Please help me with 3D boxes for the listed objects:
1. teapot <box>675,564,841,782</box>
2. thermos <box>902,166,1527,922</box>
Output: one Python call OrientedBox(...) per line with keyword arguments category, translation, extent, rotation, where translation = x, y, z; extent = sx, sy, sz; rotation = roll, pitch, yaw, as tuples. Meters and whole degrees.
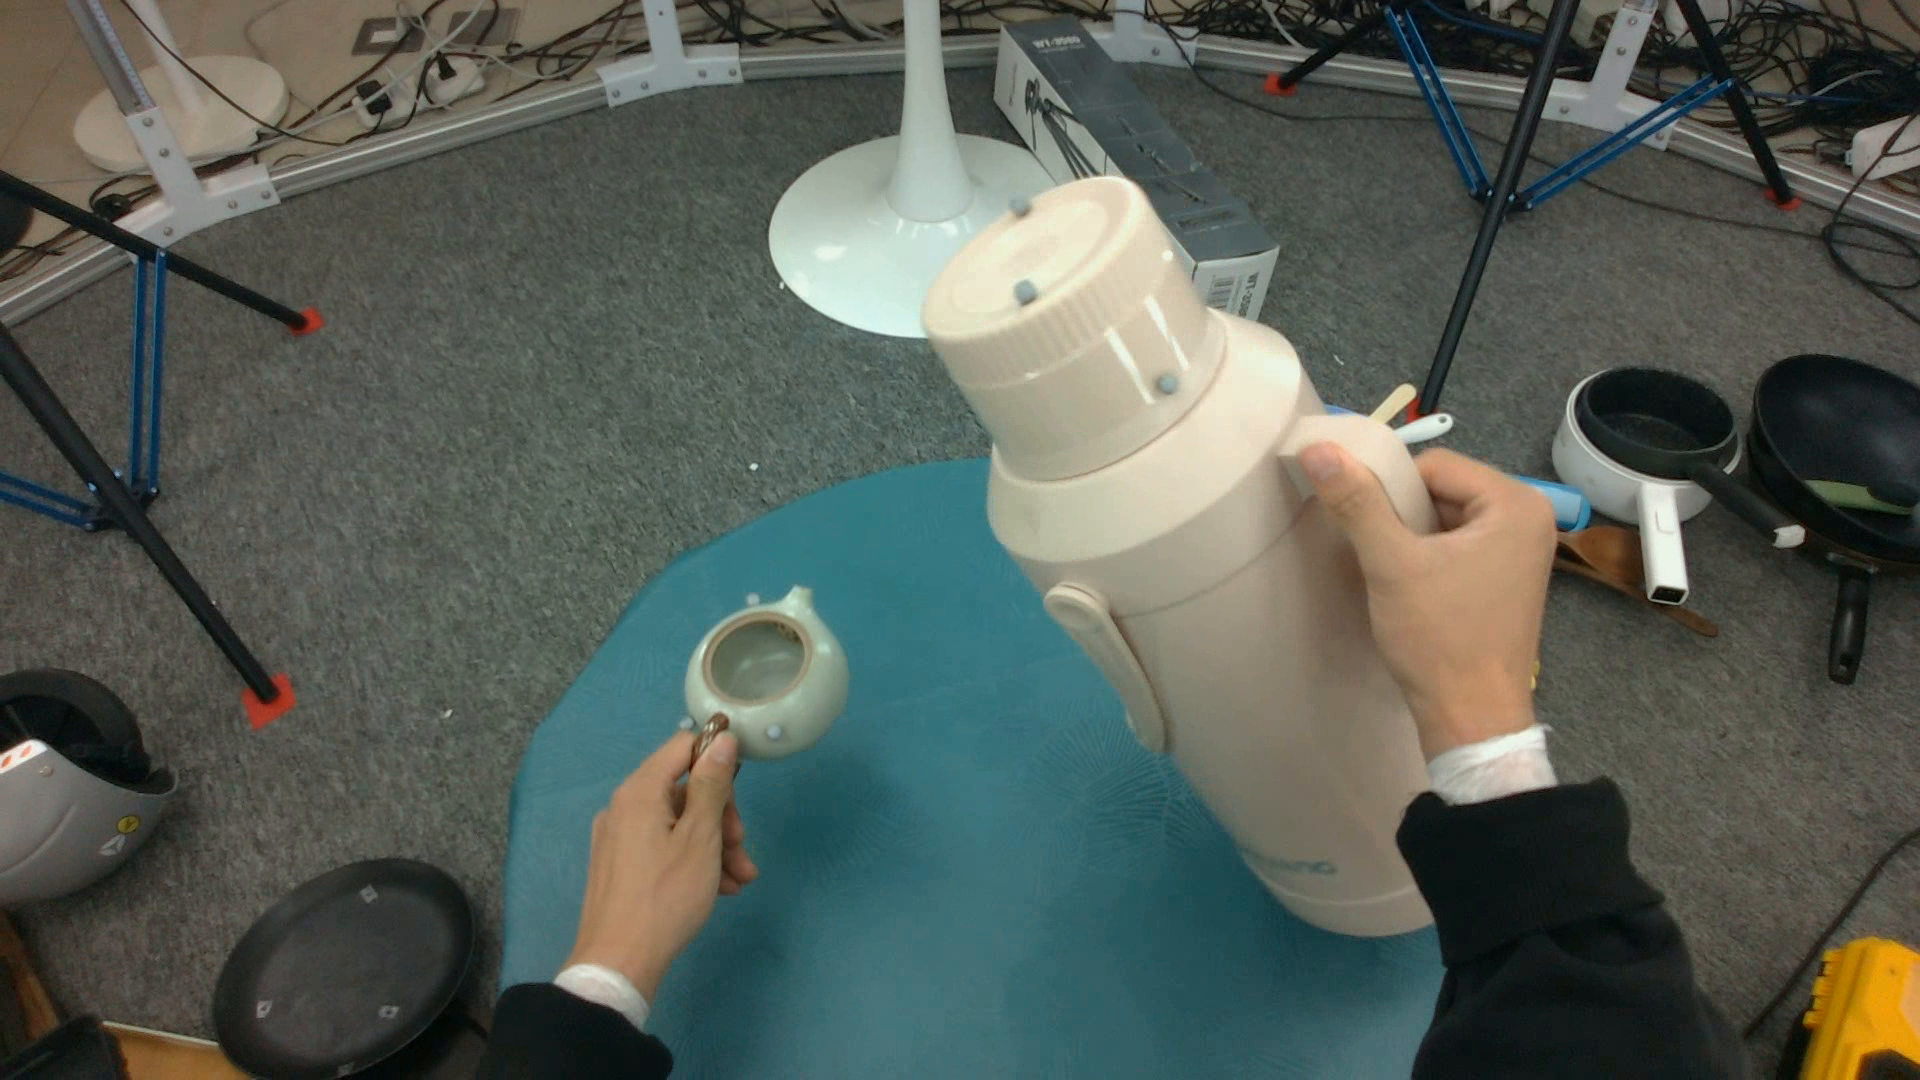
OrientedBox(category="teapot", translation=(-0.116, 0.076, 0.762), extent=(0.092, 0.059, 0.128), rotation=(18, 58, 15))
OrientedBox(category="thermos", translation=(0.137, 0.013, 0.658), extent=(0.206, 0.405, 0.176), rotation=(-3, 45, 46))
